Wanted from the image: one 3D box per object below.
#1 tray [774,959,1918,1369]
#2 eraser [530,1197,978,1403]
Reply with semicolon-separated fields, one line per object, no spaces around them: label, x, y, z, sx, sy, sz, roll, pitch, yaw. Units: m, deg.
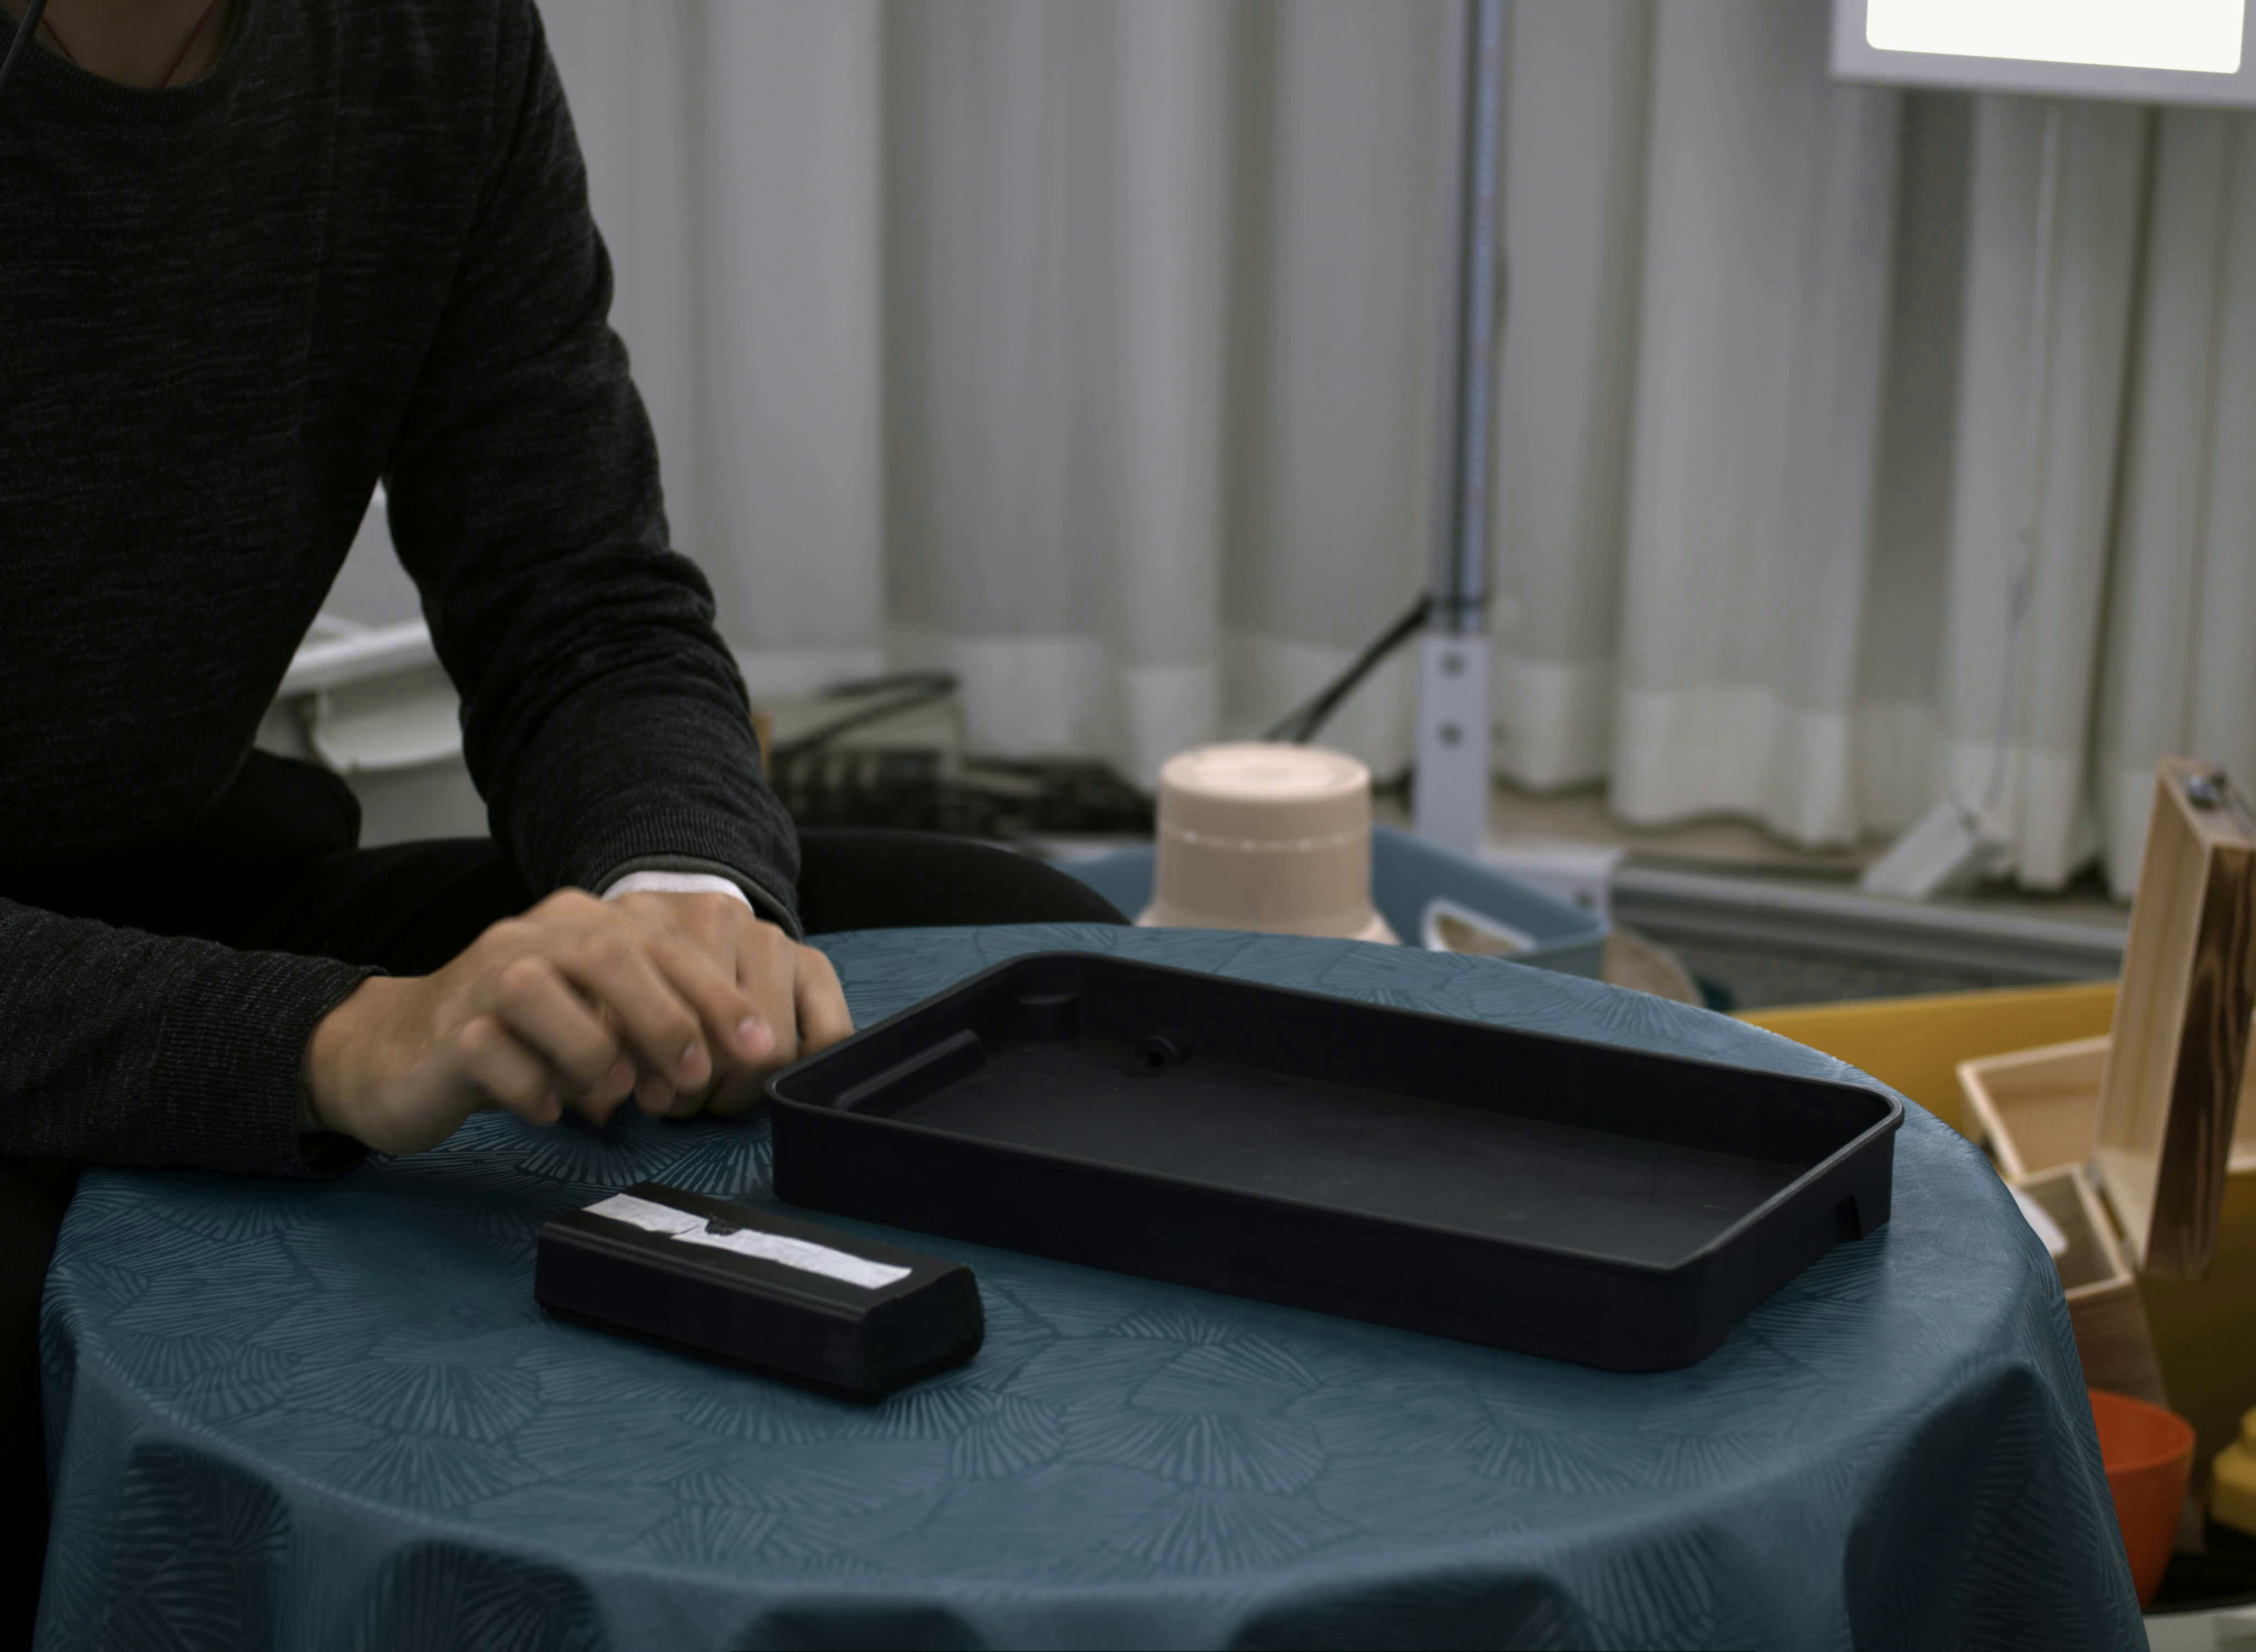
tray;0.066;0.099;1.607;0.314;0.037;0.185;8;17;27
eraser;-0.106;0.133;1.491;0.124;0.030;0.054;10;16;34
